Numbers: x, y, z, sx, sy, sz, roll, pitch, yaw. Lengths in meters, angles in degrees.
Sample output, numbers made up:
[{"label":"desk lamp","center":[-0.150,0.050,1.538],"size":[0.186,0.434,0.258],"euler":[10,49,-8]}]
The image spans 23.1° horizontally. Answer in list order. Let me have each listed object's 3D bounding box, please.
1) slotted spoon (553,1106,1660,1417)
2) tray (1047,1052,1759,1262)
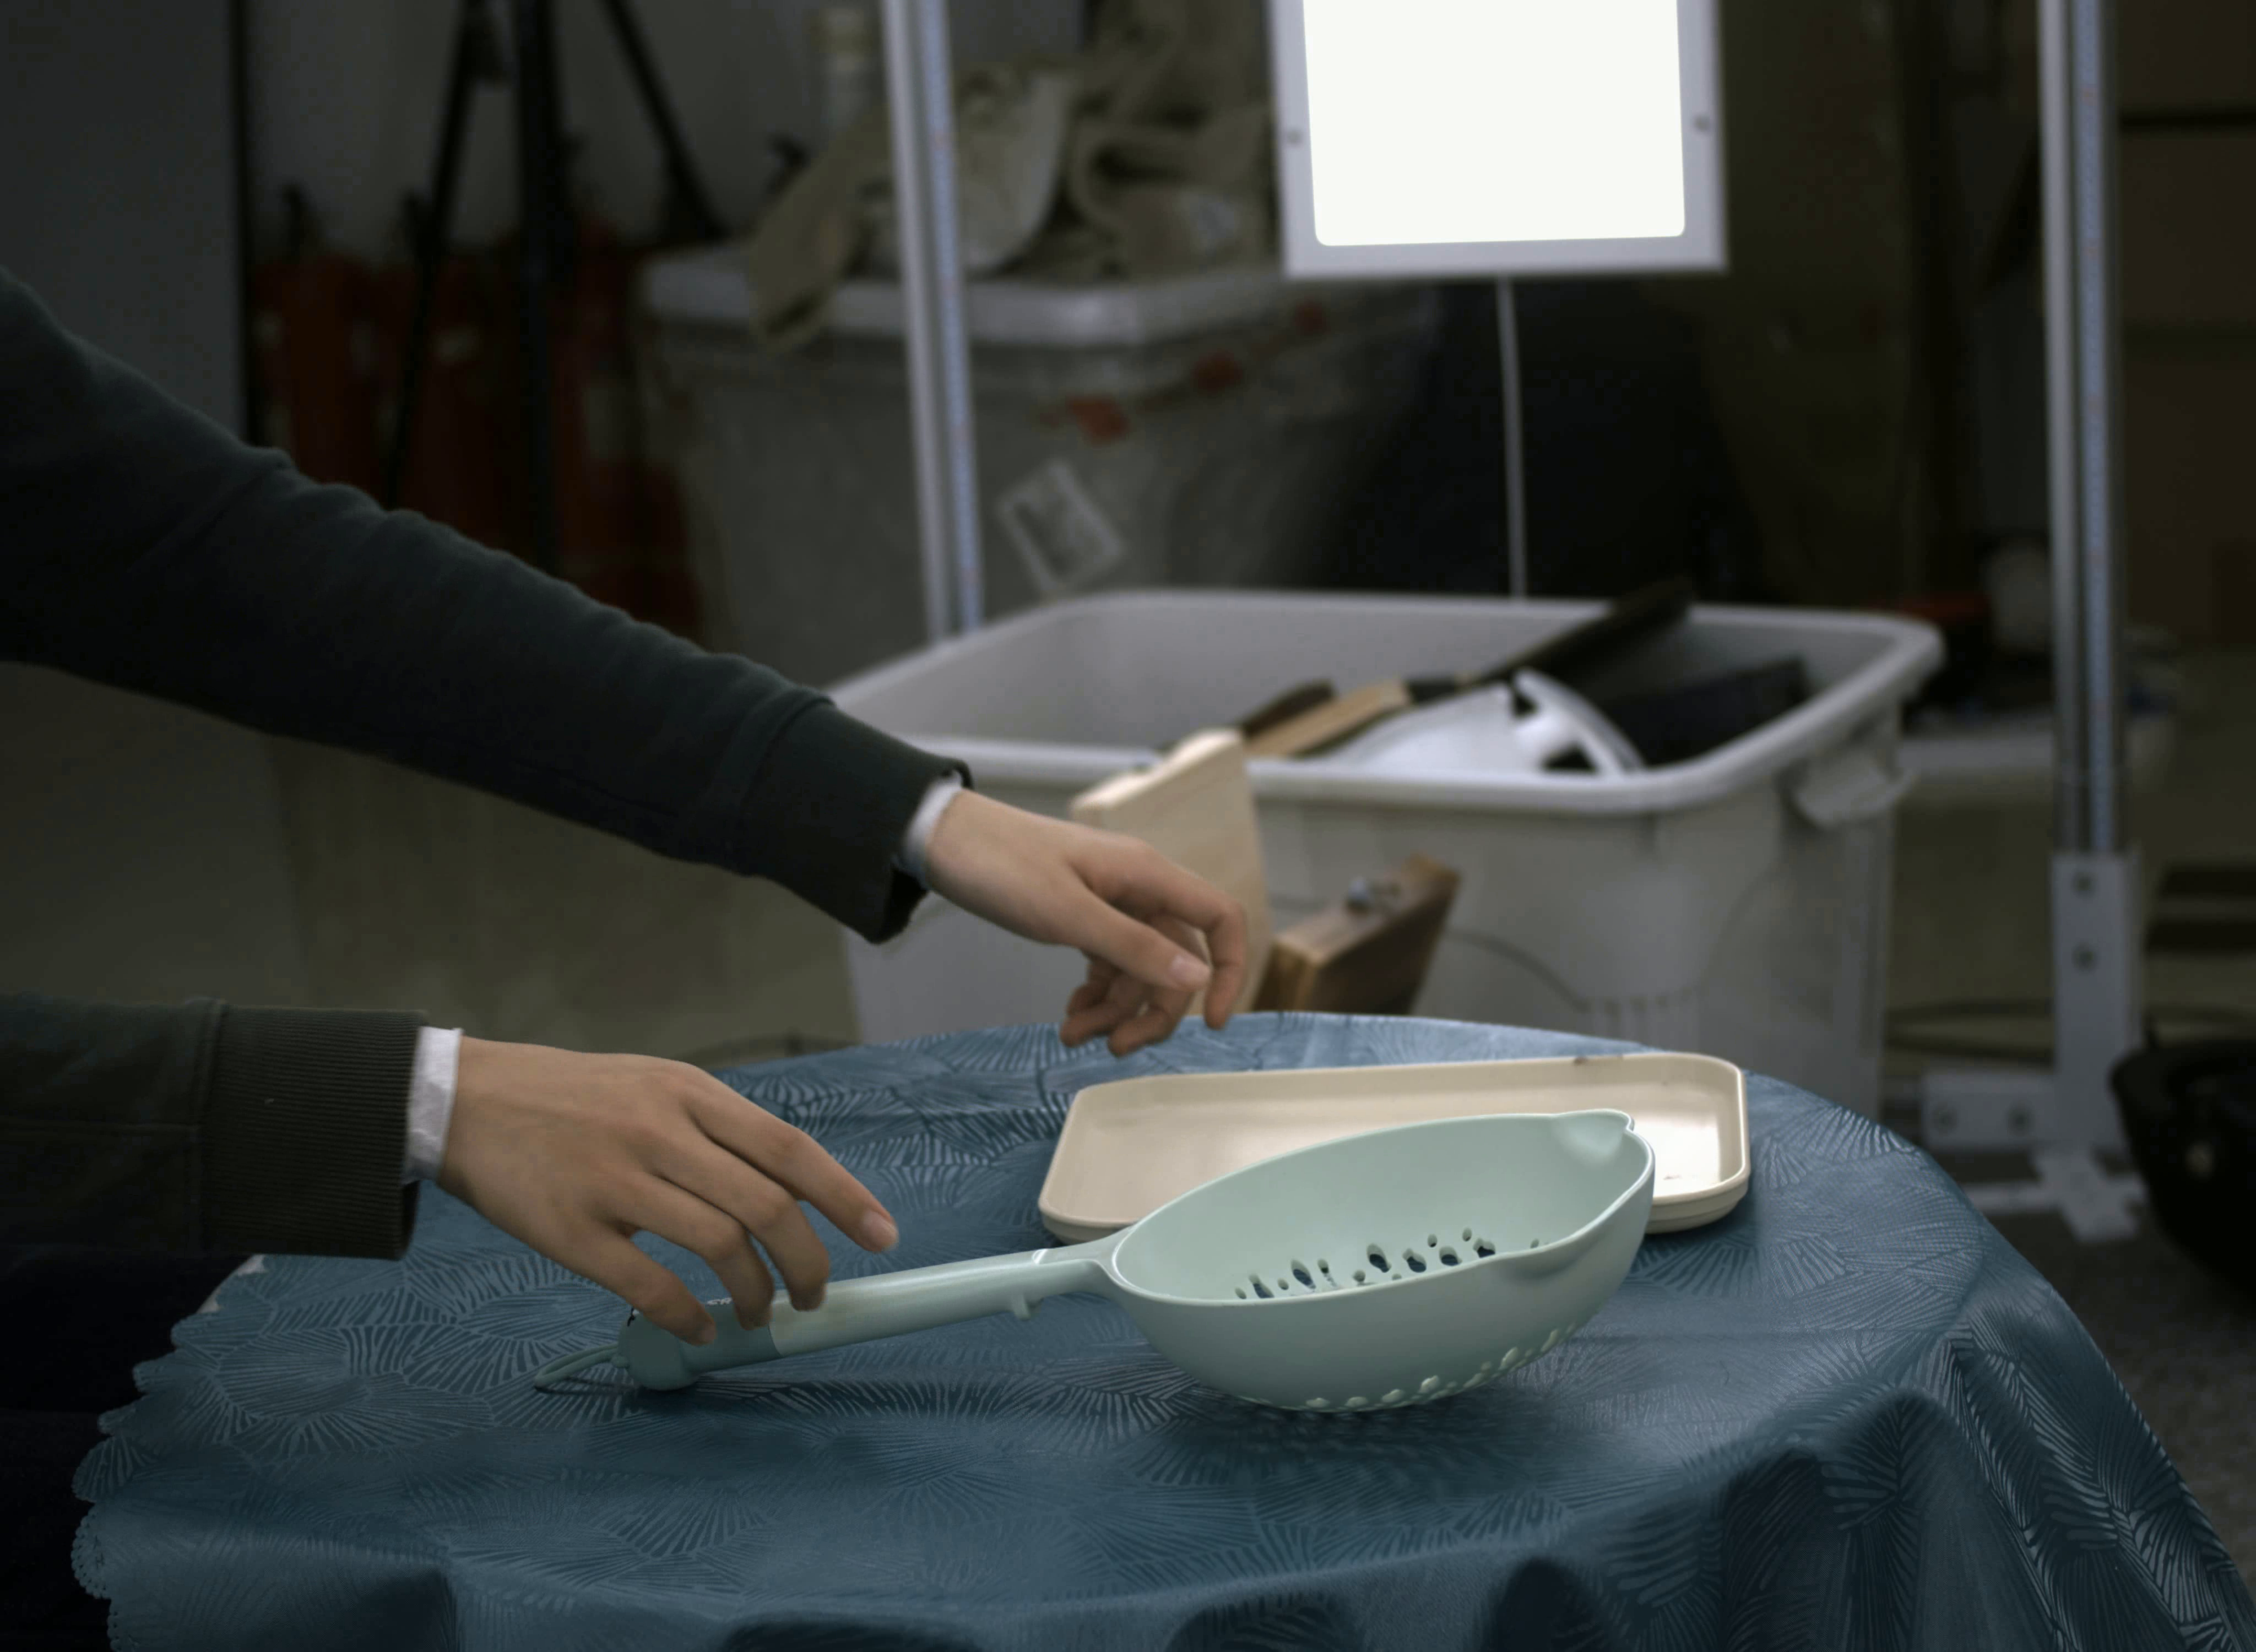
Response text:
[{"label":"slotted spoon","center":[-0.012,0.143,1.703],"size":[0.362,0.075,0.167],"euler":[-2,13,15]},{"label":"tray","center":[0.096,0.114,1.882],"size":[0.240,0.017,0.170],"euler":[-4,13,8]}]
